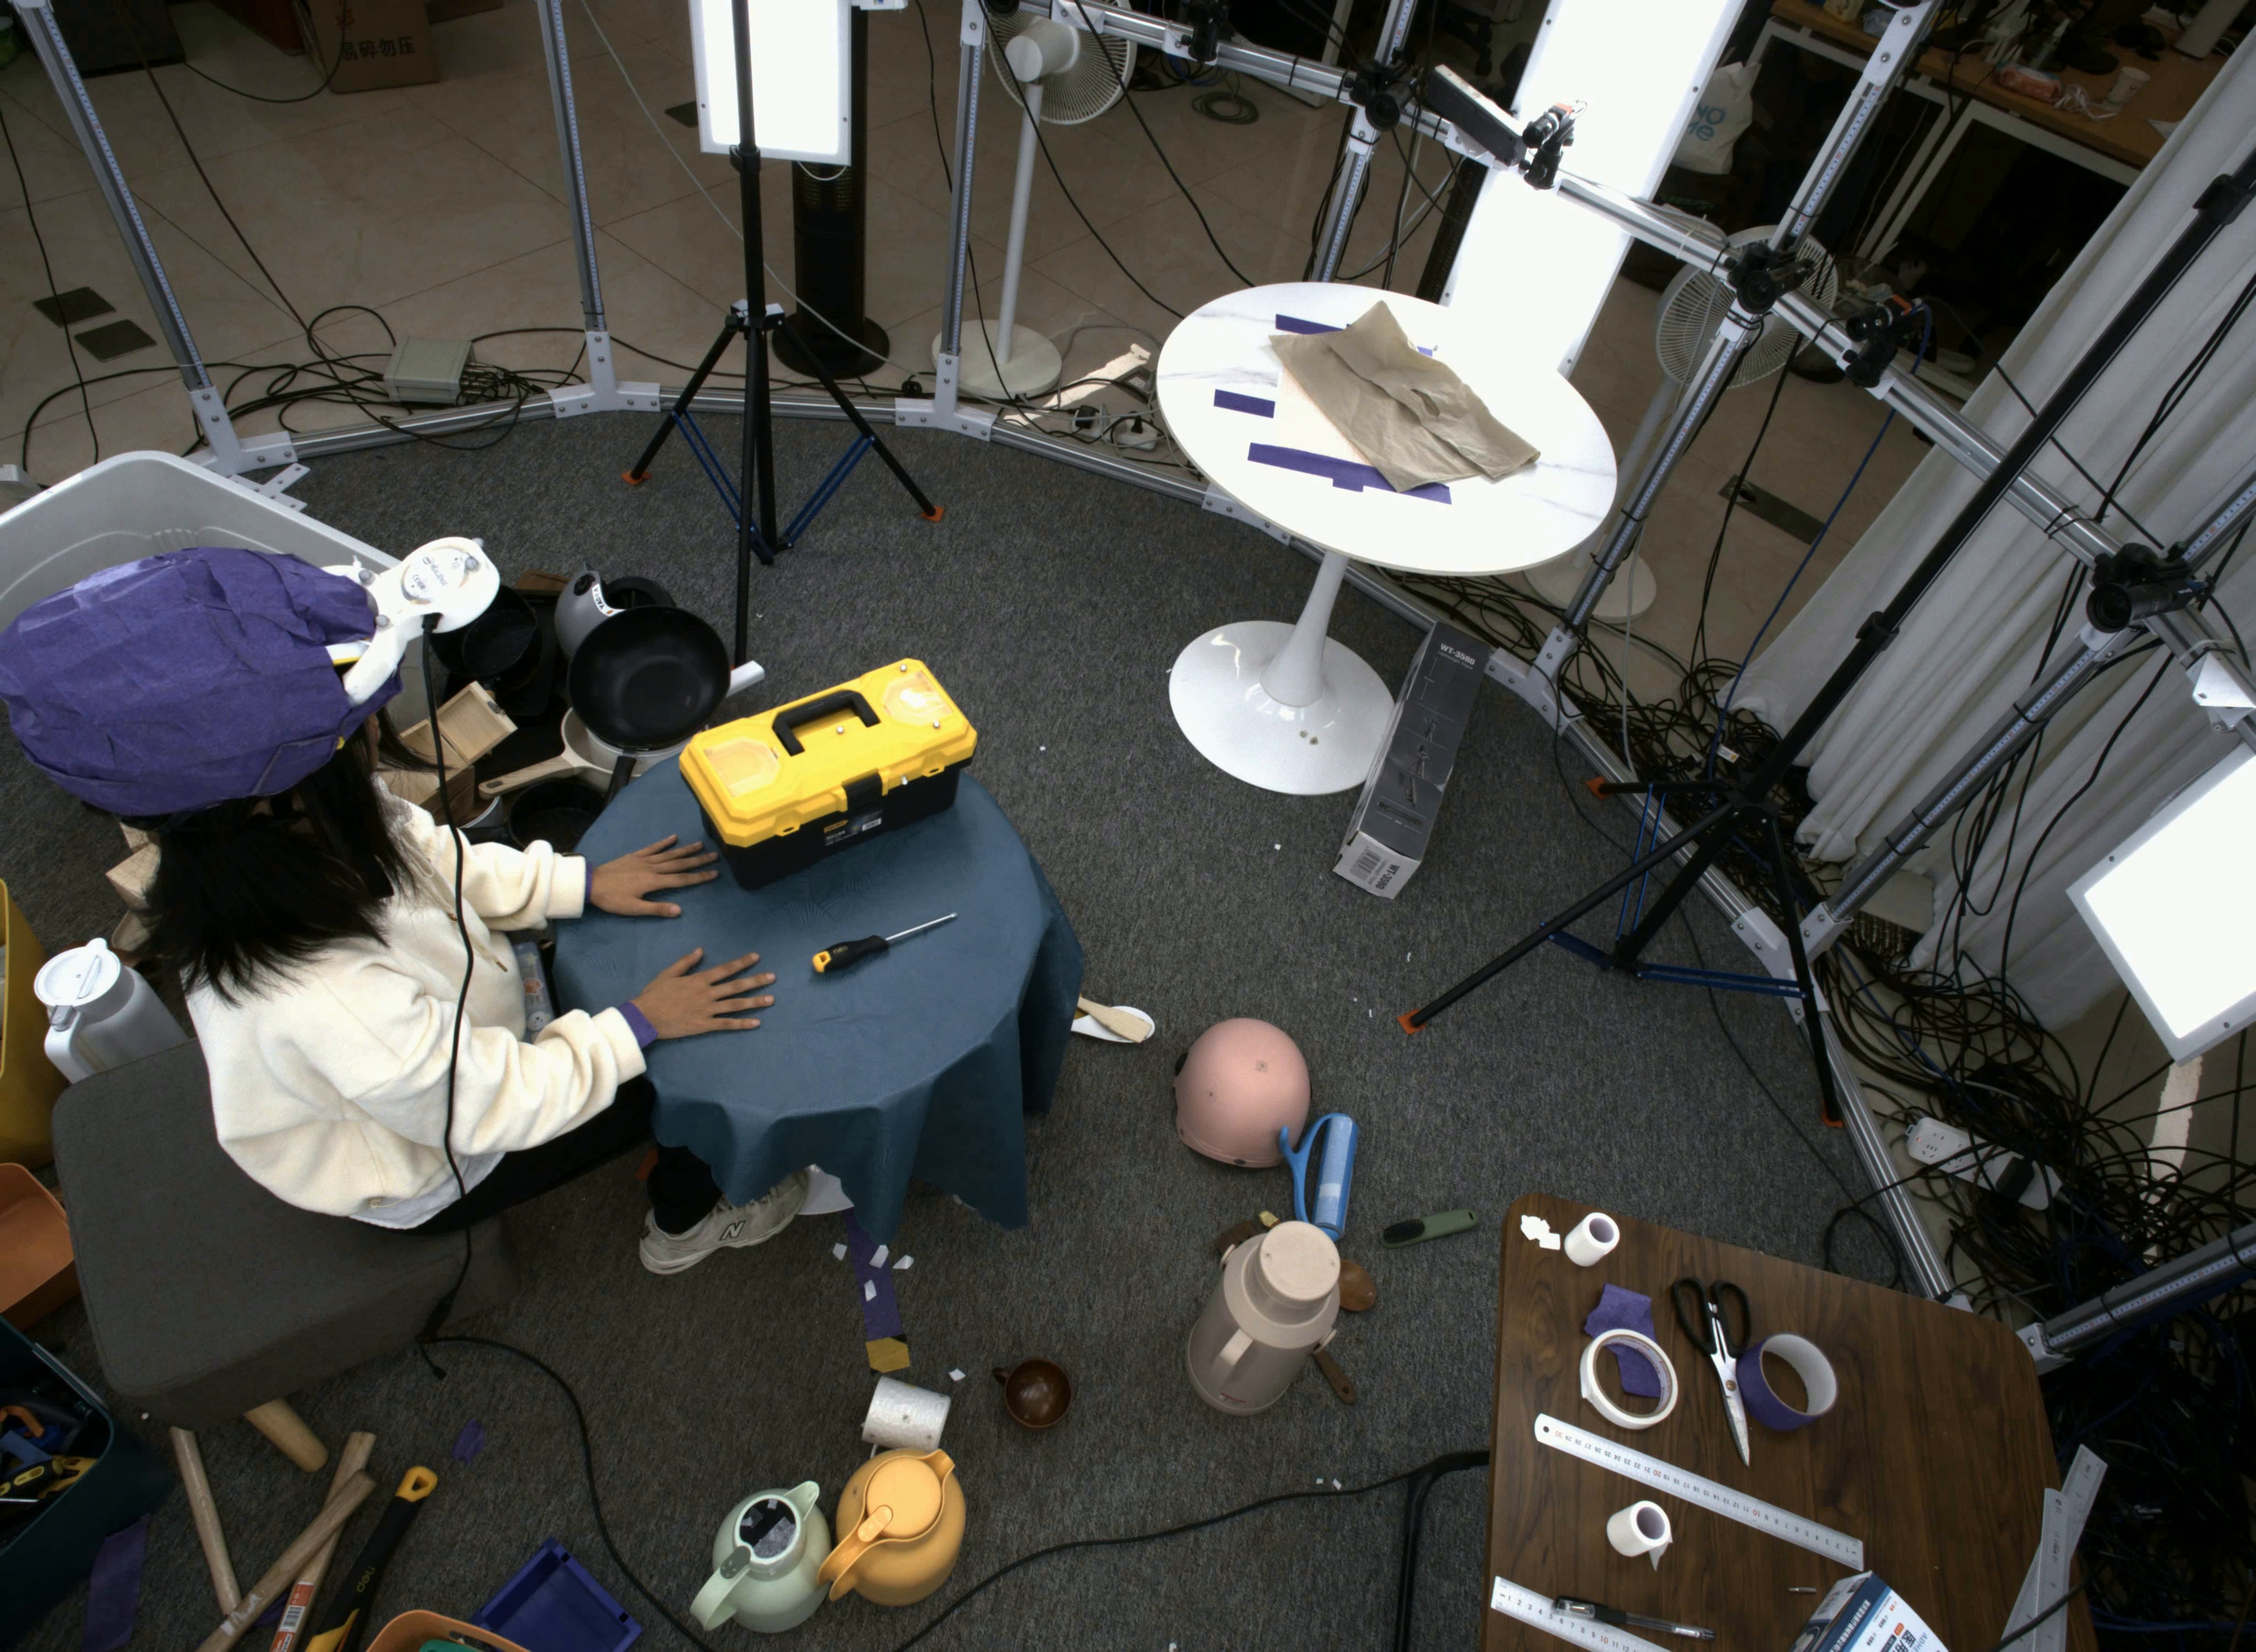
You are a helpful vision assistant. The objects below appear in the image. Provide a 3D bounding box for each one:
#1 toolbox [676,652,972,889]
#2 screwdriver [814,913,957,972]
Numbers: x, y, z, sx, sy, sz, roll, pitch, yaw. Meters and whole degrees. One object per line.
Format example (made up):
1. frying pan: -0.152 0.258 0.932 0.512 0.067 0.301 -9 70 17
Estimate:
1. toolbox: -0.385 -0.070 1.669 0.353 0.176 0.177 -25 62 -29
2. screwdriver: -0.300 0.138 1.627 0.197 0.032 0.030 -20 59 -28
